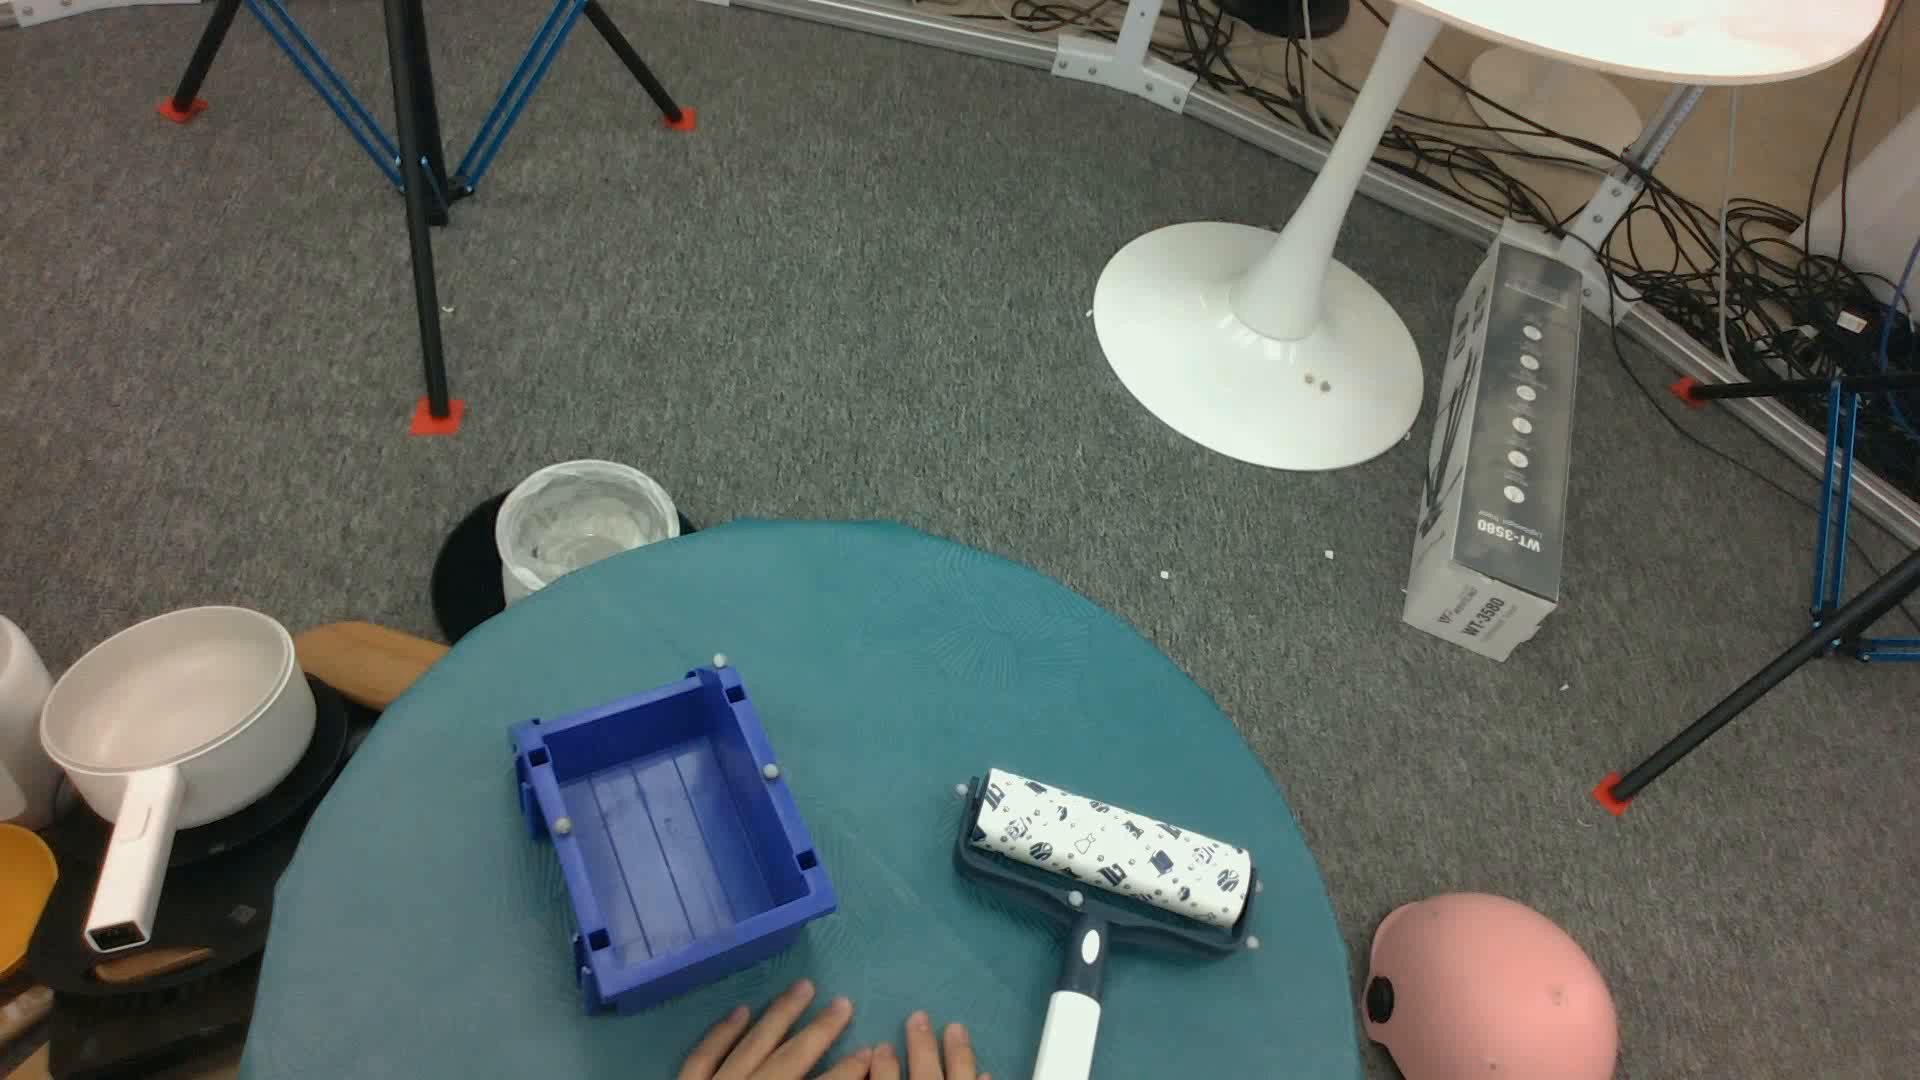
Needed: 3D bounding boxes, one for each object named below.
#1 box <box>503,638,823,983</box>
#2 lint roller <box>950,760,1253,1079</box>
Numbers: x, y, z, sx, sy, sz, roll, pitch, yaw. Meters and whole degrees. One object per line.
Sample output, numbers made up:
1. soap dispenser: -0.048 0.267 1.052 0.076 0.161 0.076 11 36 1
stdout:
1. box: -0.168 0.140 0.749 0.125 0.081 0.180 -15 61 -23
2. lint roller: 0.062 0.252 0.748 0.176 0.050 0.248 18 53 -1
